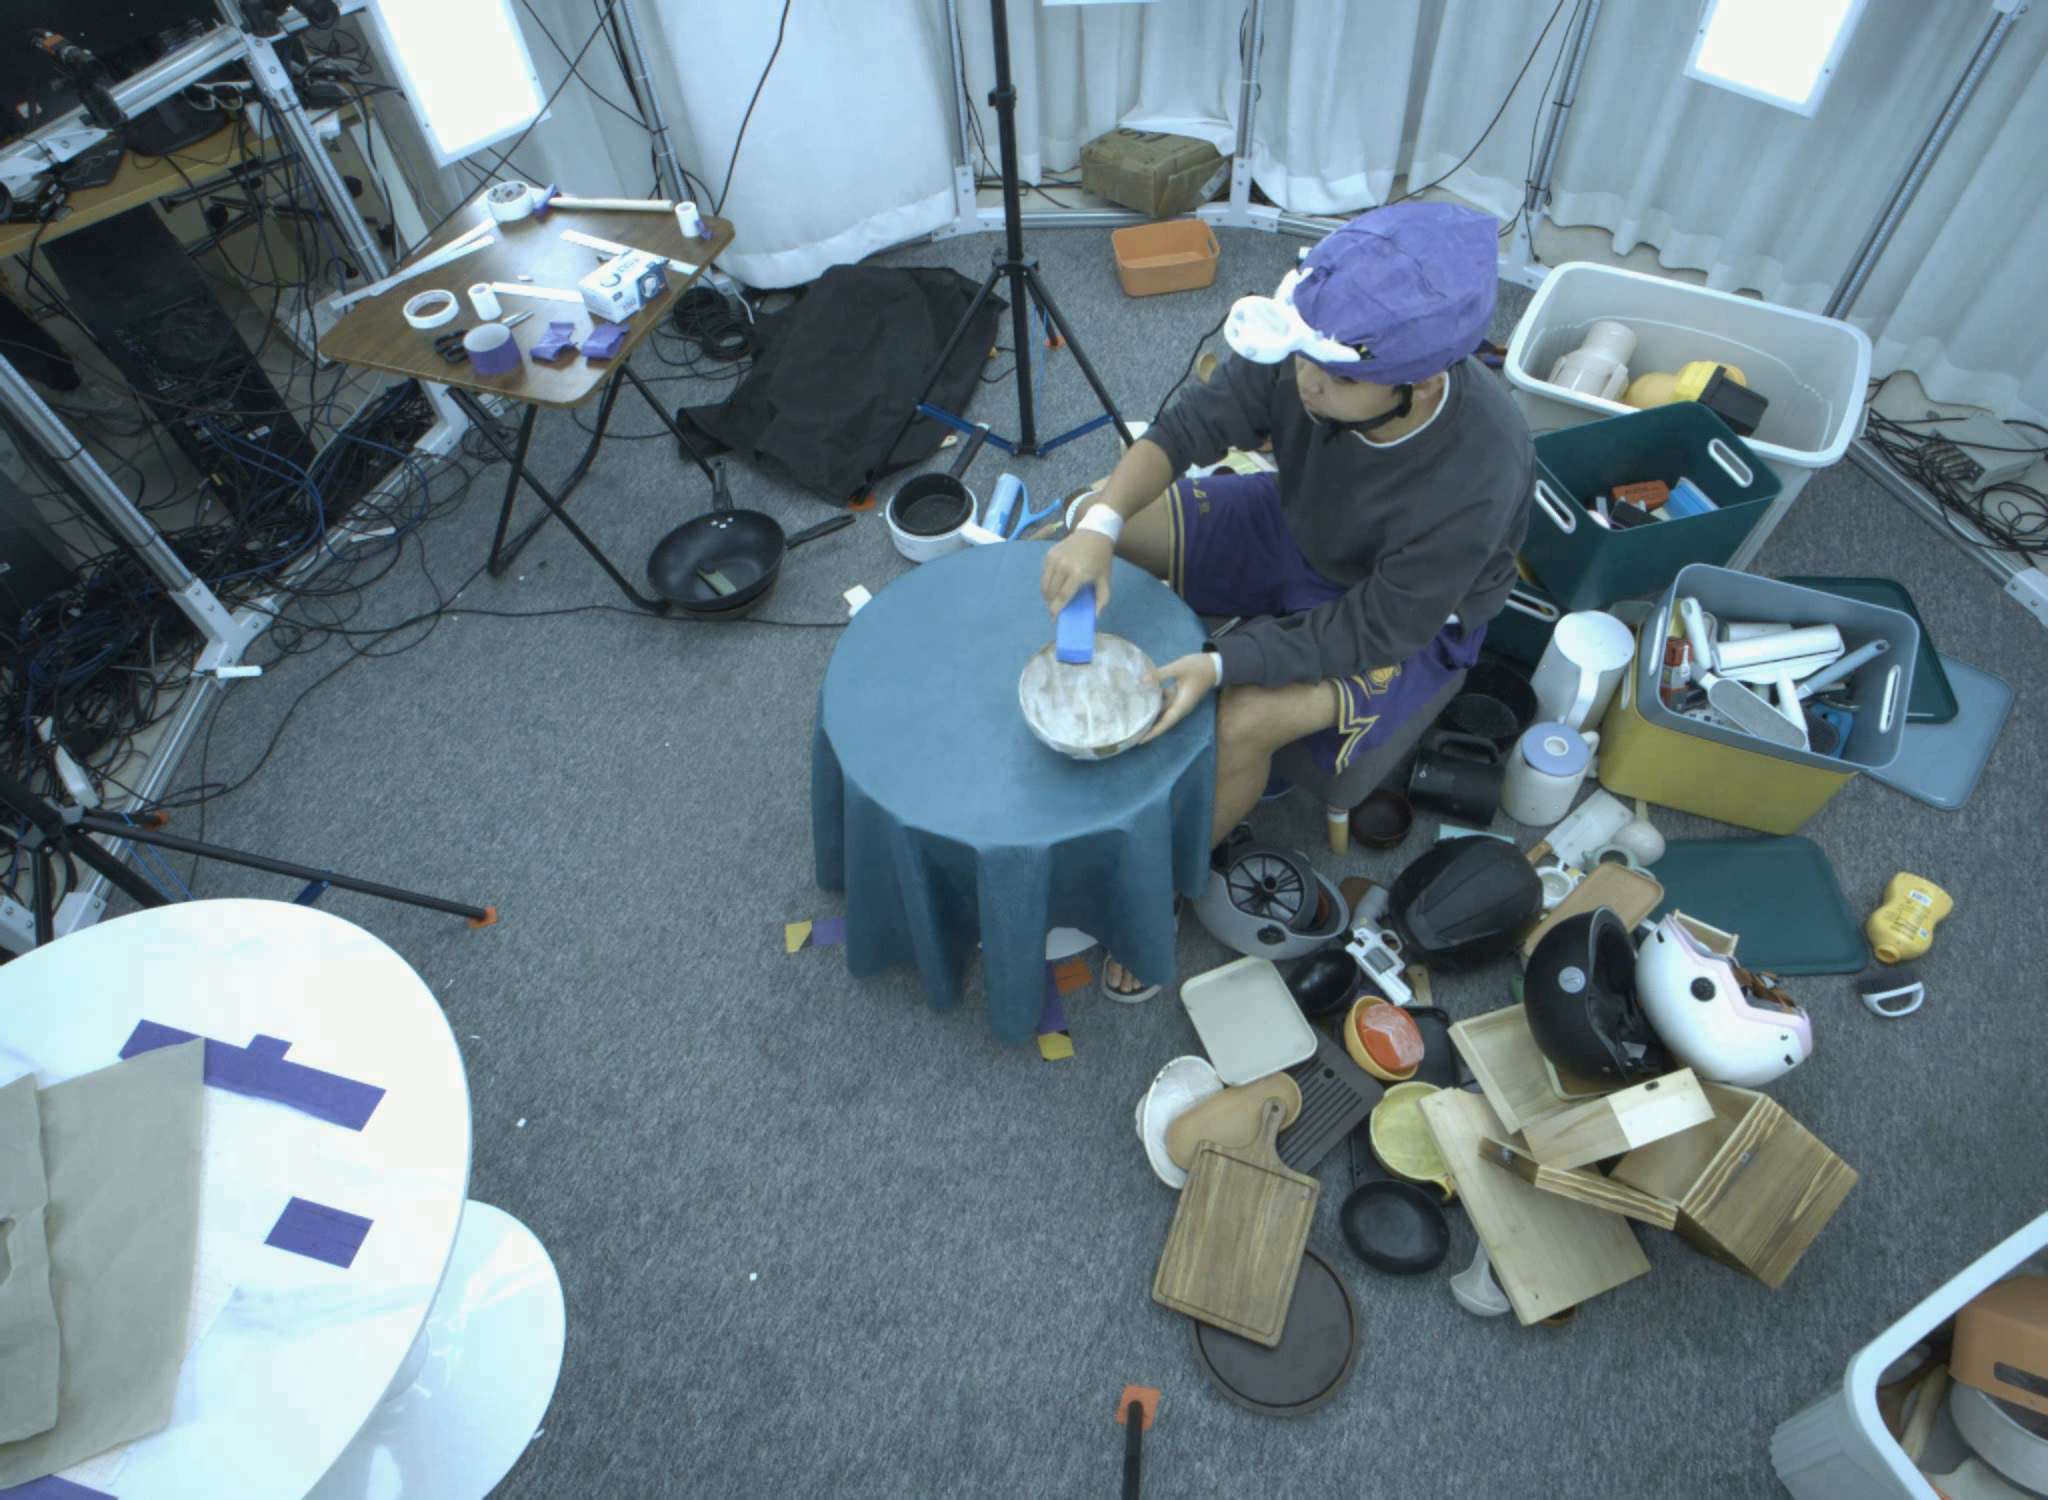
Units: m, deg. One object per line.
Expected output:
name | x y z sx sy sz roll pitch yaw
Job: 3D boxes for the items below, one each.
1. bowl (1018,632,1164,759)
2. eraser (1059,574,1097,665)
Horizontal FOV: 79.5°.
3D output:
bowl | 0.098 -0.065 1.771 0.215 0.095 0.212 1 58 0
eraser | 0.078 -0.195 1.776 0.054 0.048 0.160 0 50 3
